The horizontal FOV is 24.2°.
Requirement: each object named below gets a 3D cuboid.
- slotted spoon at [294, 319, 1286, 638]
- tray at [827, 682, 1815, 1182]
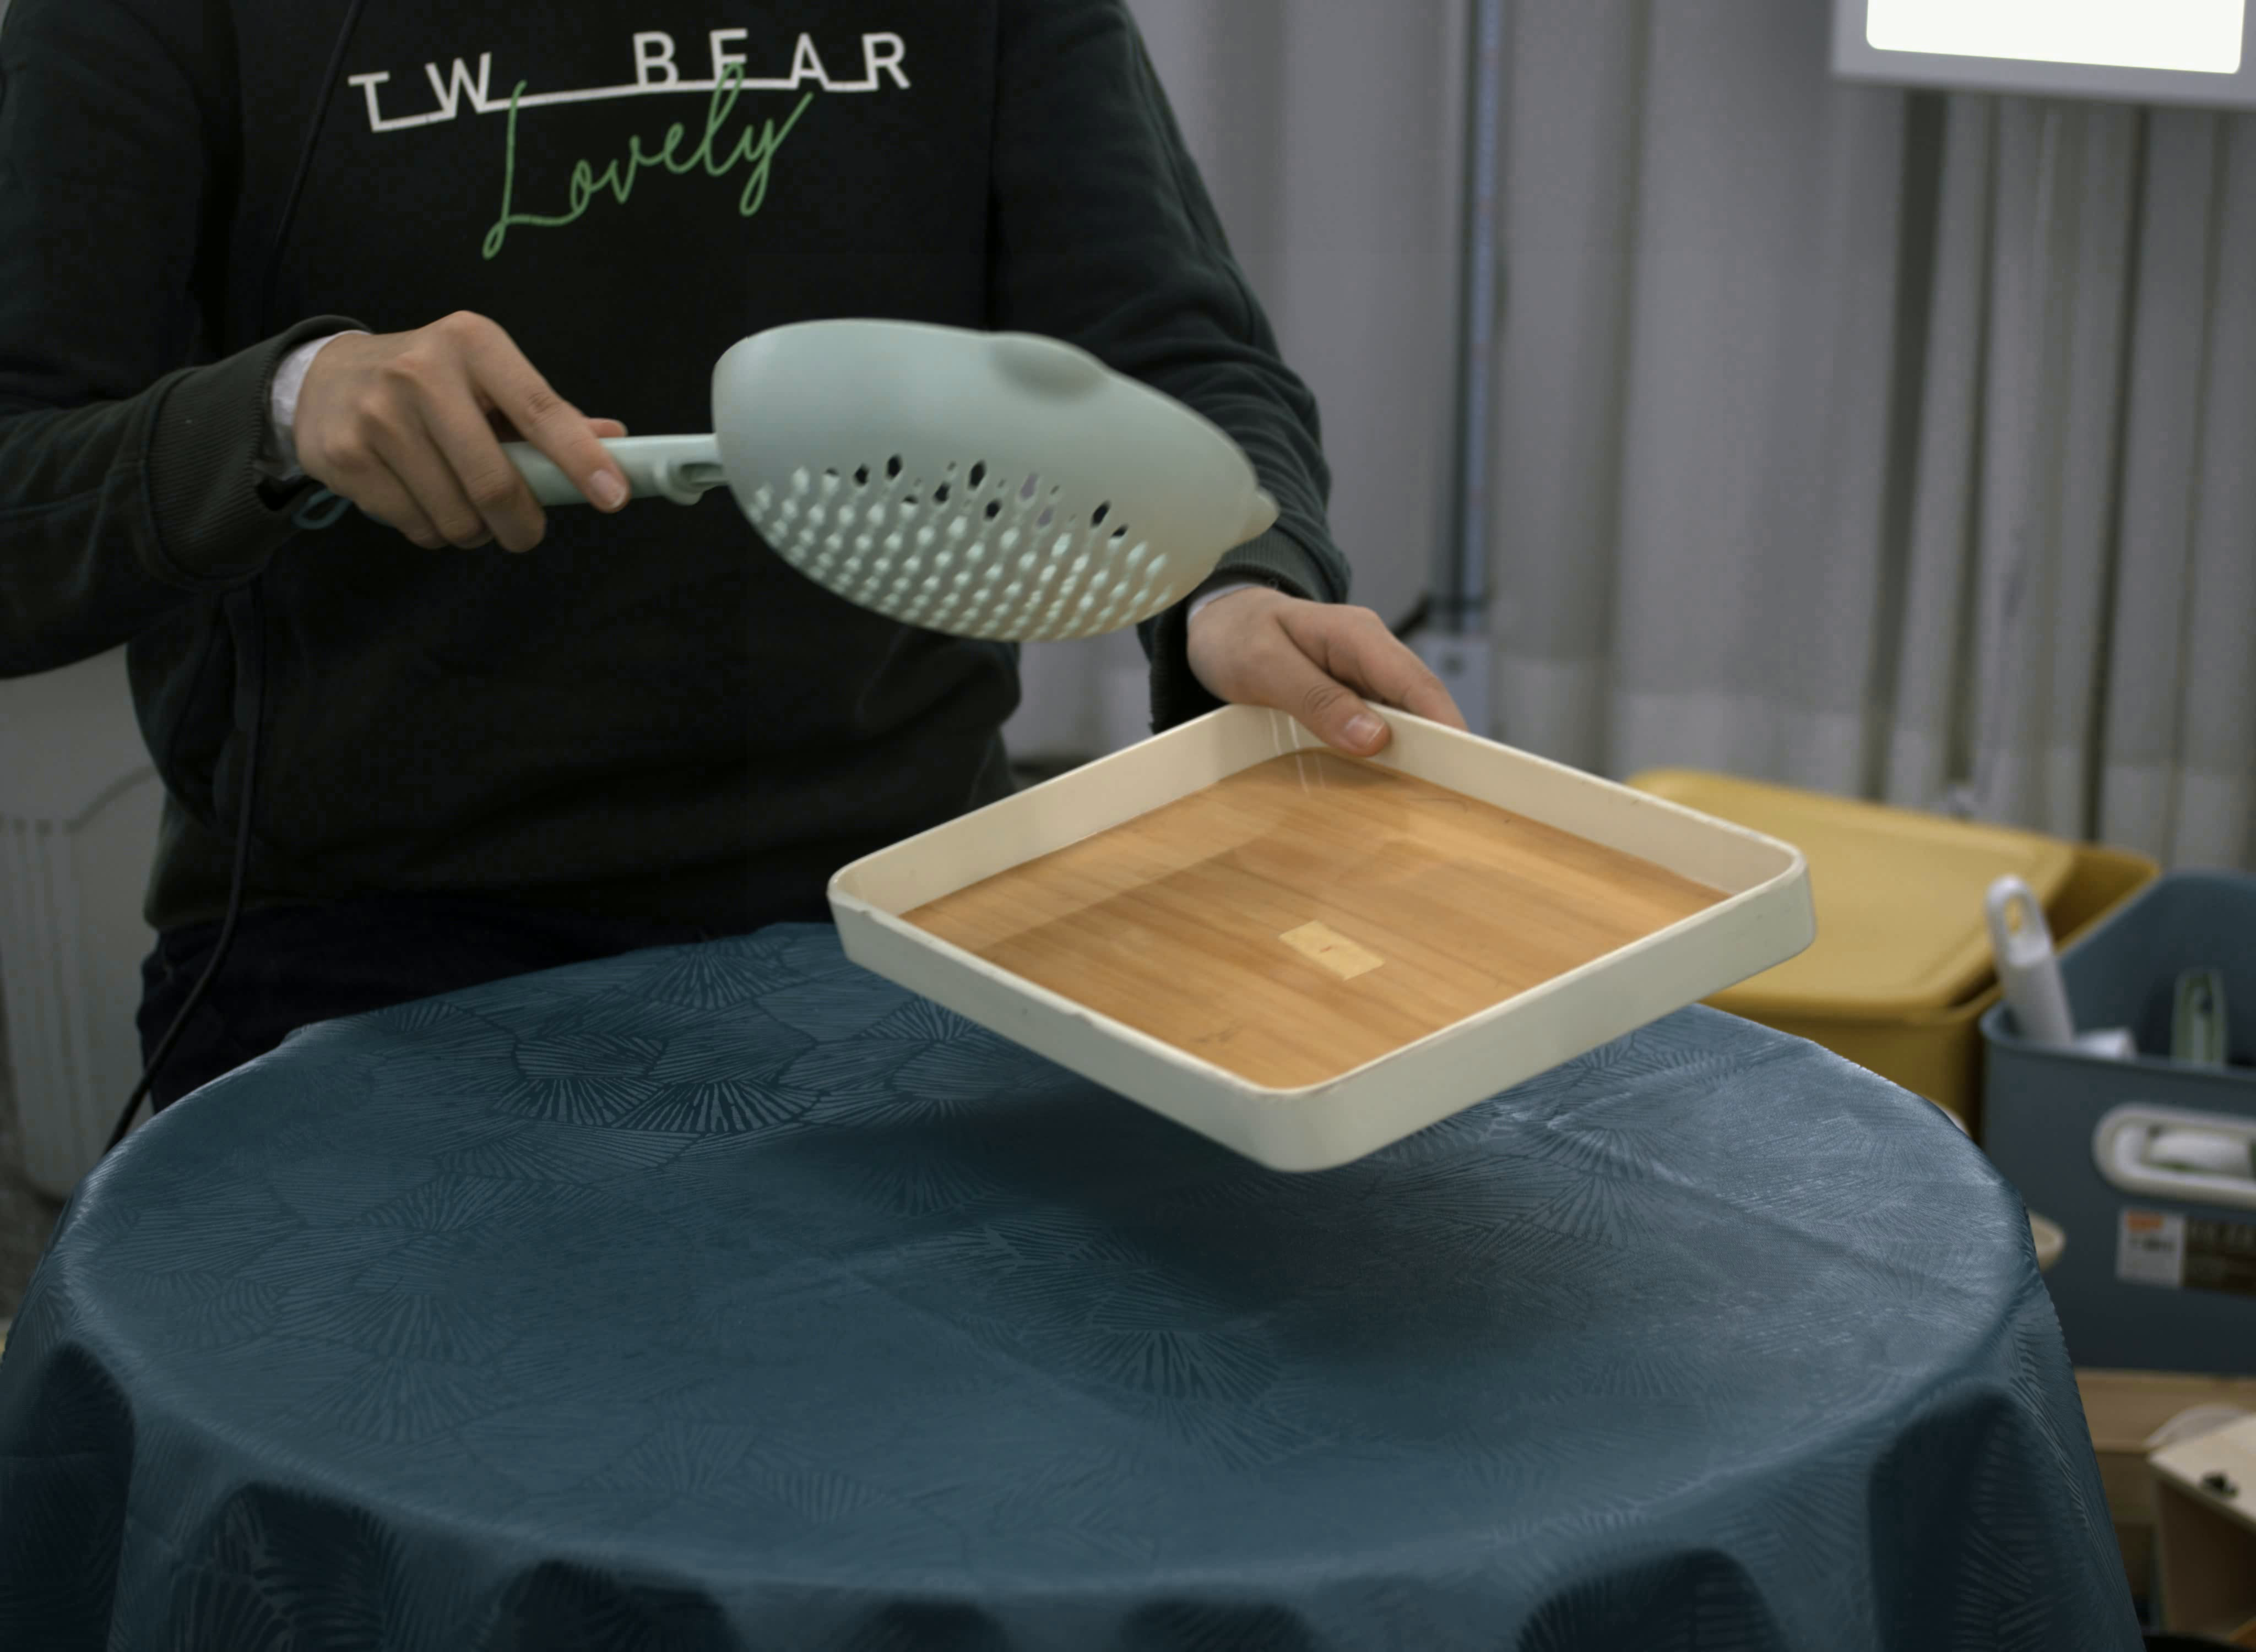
[{"bbox_3d":[-0.124,-0.108,1.653,0.354,0.075,0.171,9,-15,36],"label":"slotted spoon"},{"bbox_3d":[0.052,0.026,1.599,0.192,0.028,0.296,-23,23,-23],"label":"tray"}]
